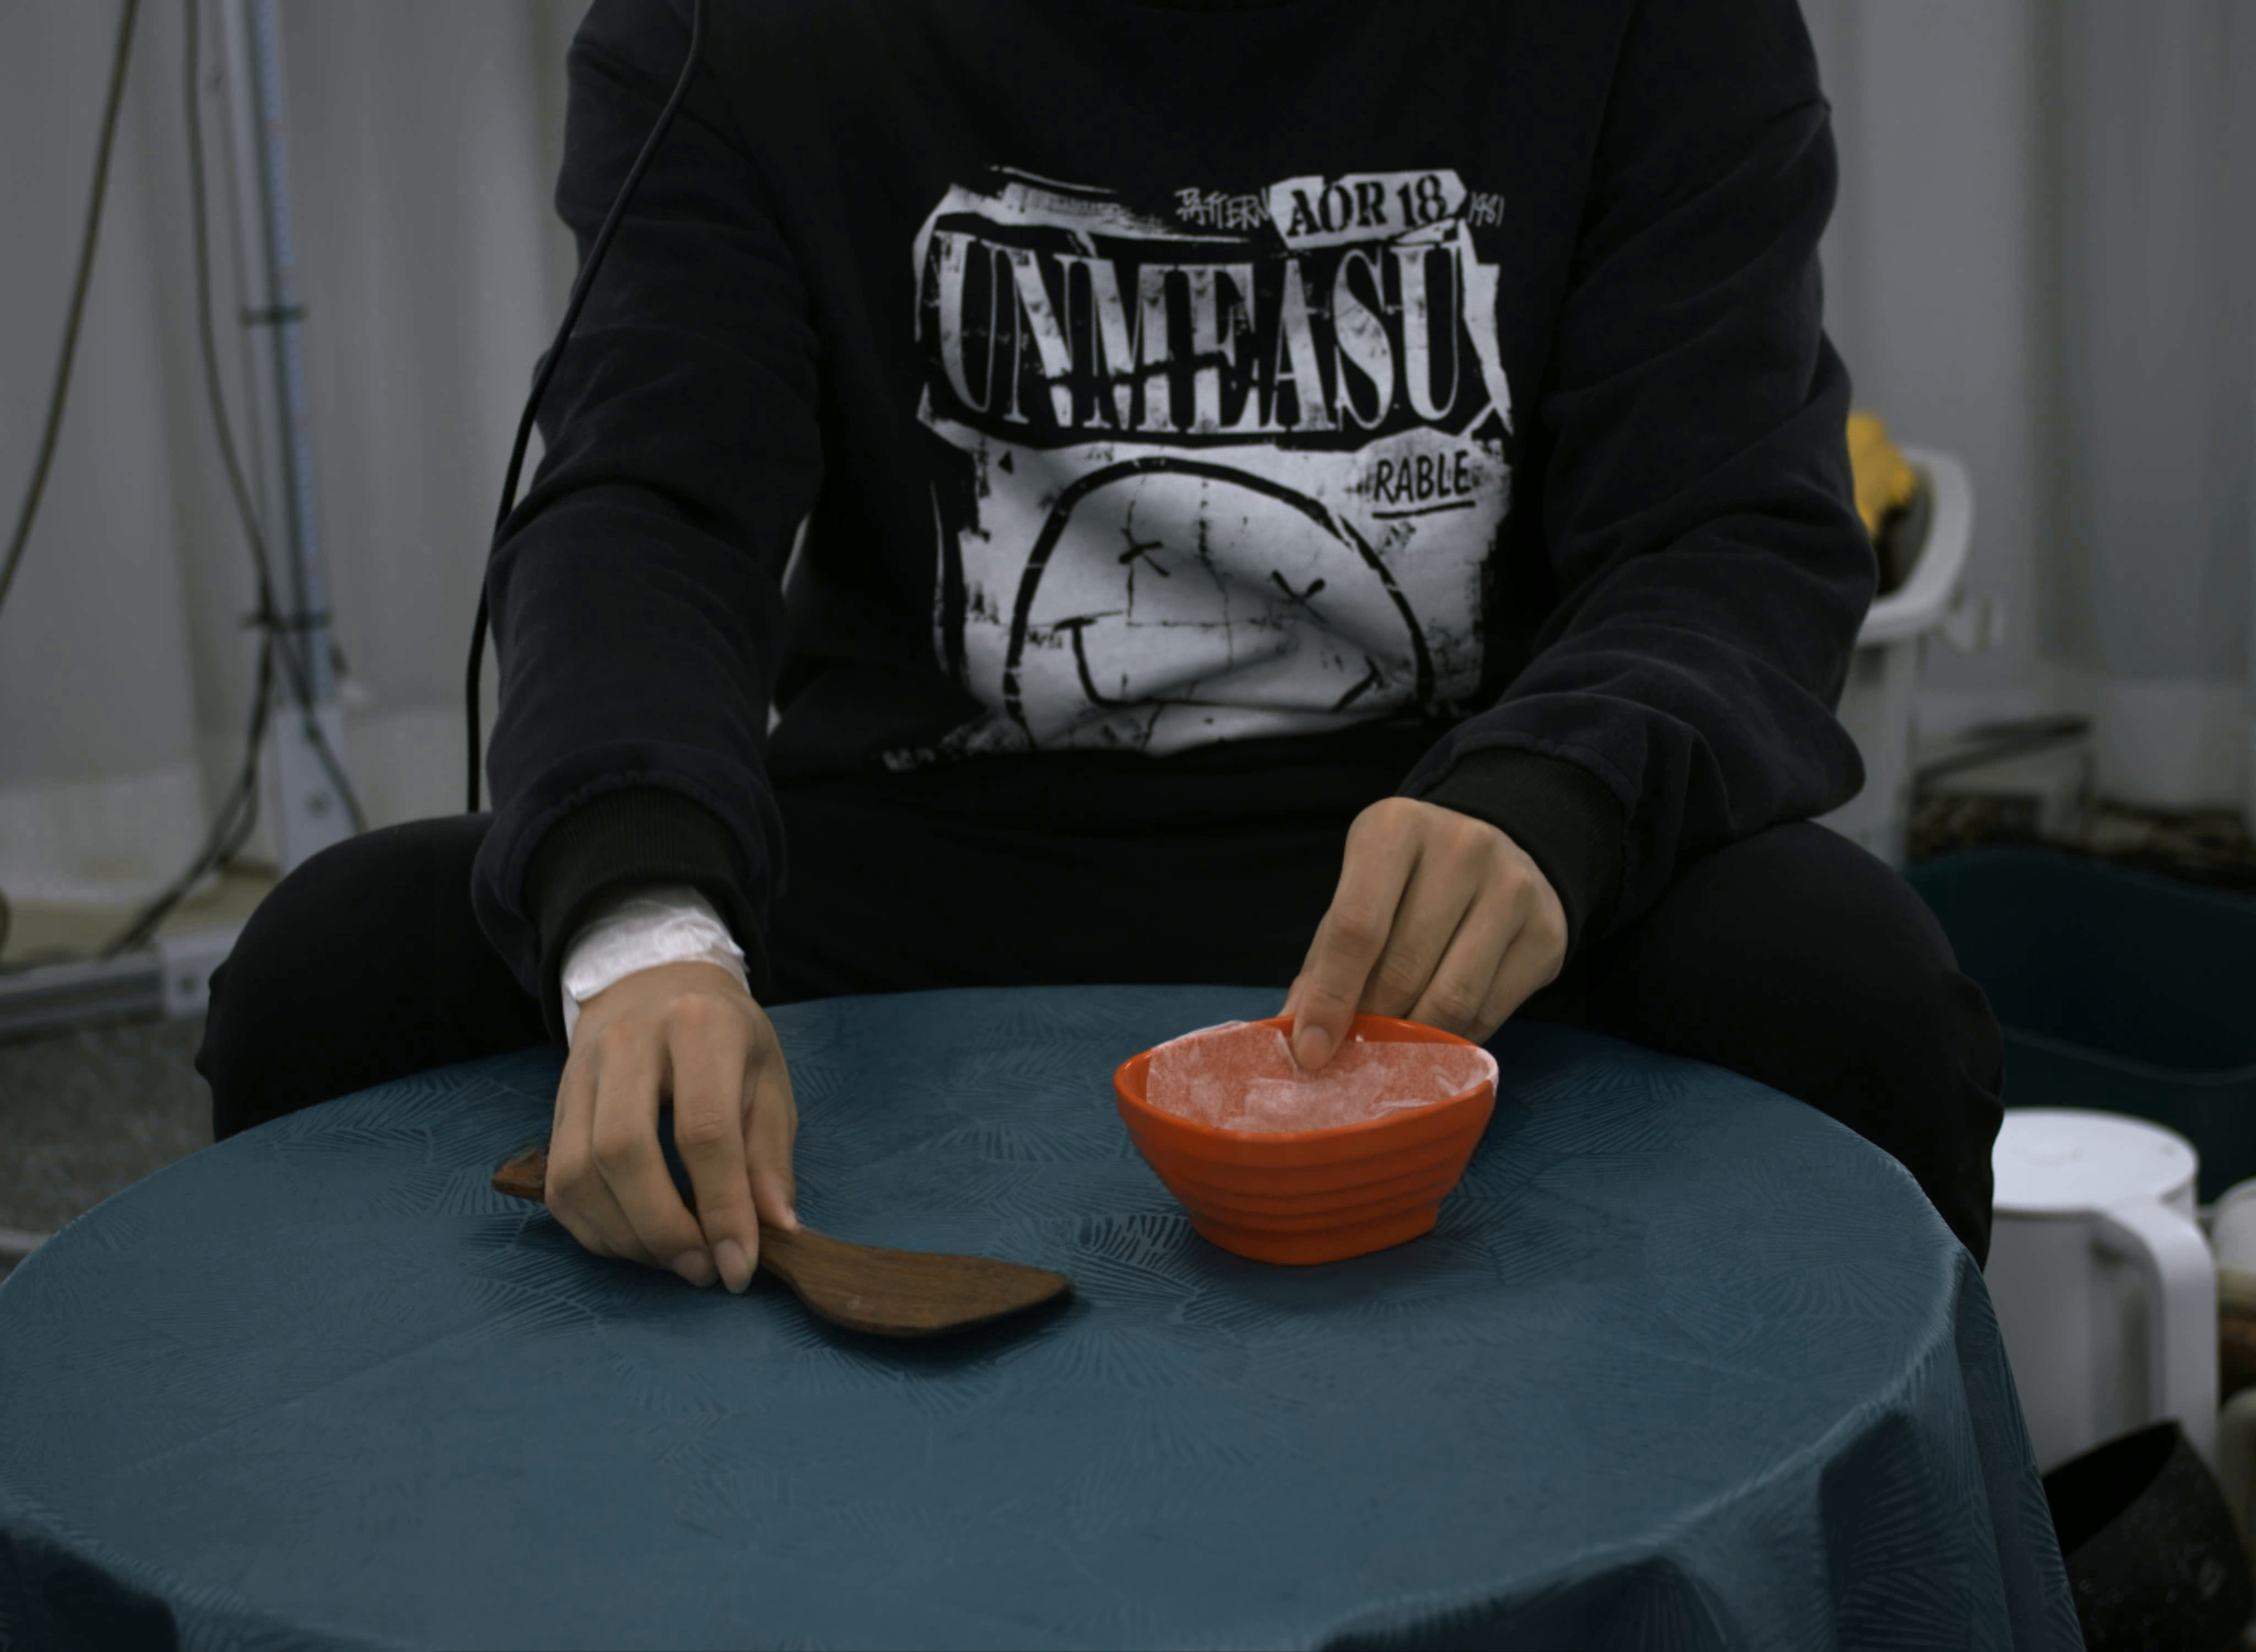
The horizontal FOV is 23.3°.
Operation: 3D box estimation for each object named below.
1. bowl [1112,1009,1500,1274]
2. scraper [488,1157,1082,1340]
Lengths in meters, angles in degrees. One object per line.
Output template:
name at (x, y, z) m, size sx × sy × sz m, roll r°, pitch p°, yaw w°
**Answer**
bowl at (0.055, 0.099, 1.667) m, size 0.118 × 0.051 × 0.120 m, roll -4°, pitch 17°, yaw 1°
scraper at (-0.112, 0.126, 1.652) m, size 0.212 × 0.011 × 0.075 m, roll 13°, pitch 16°, yaw 37°
